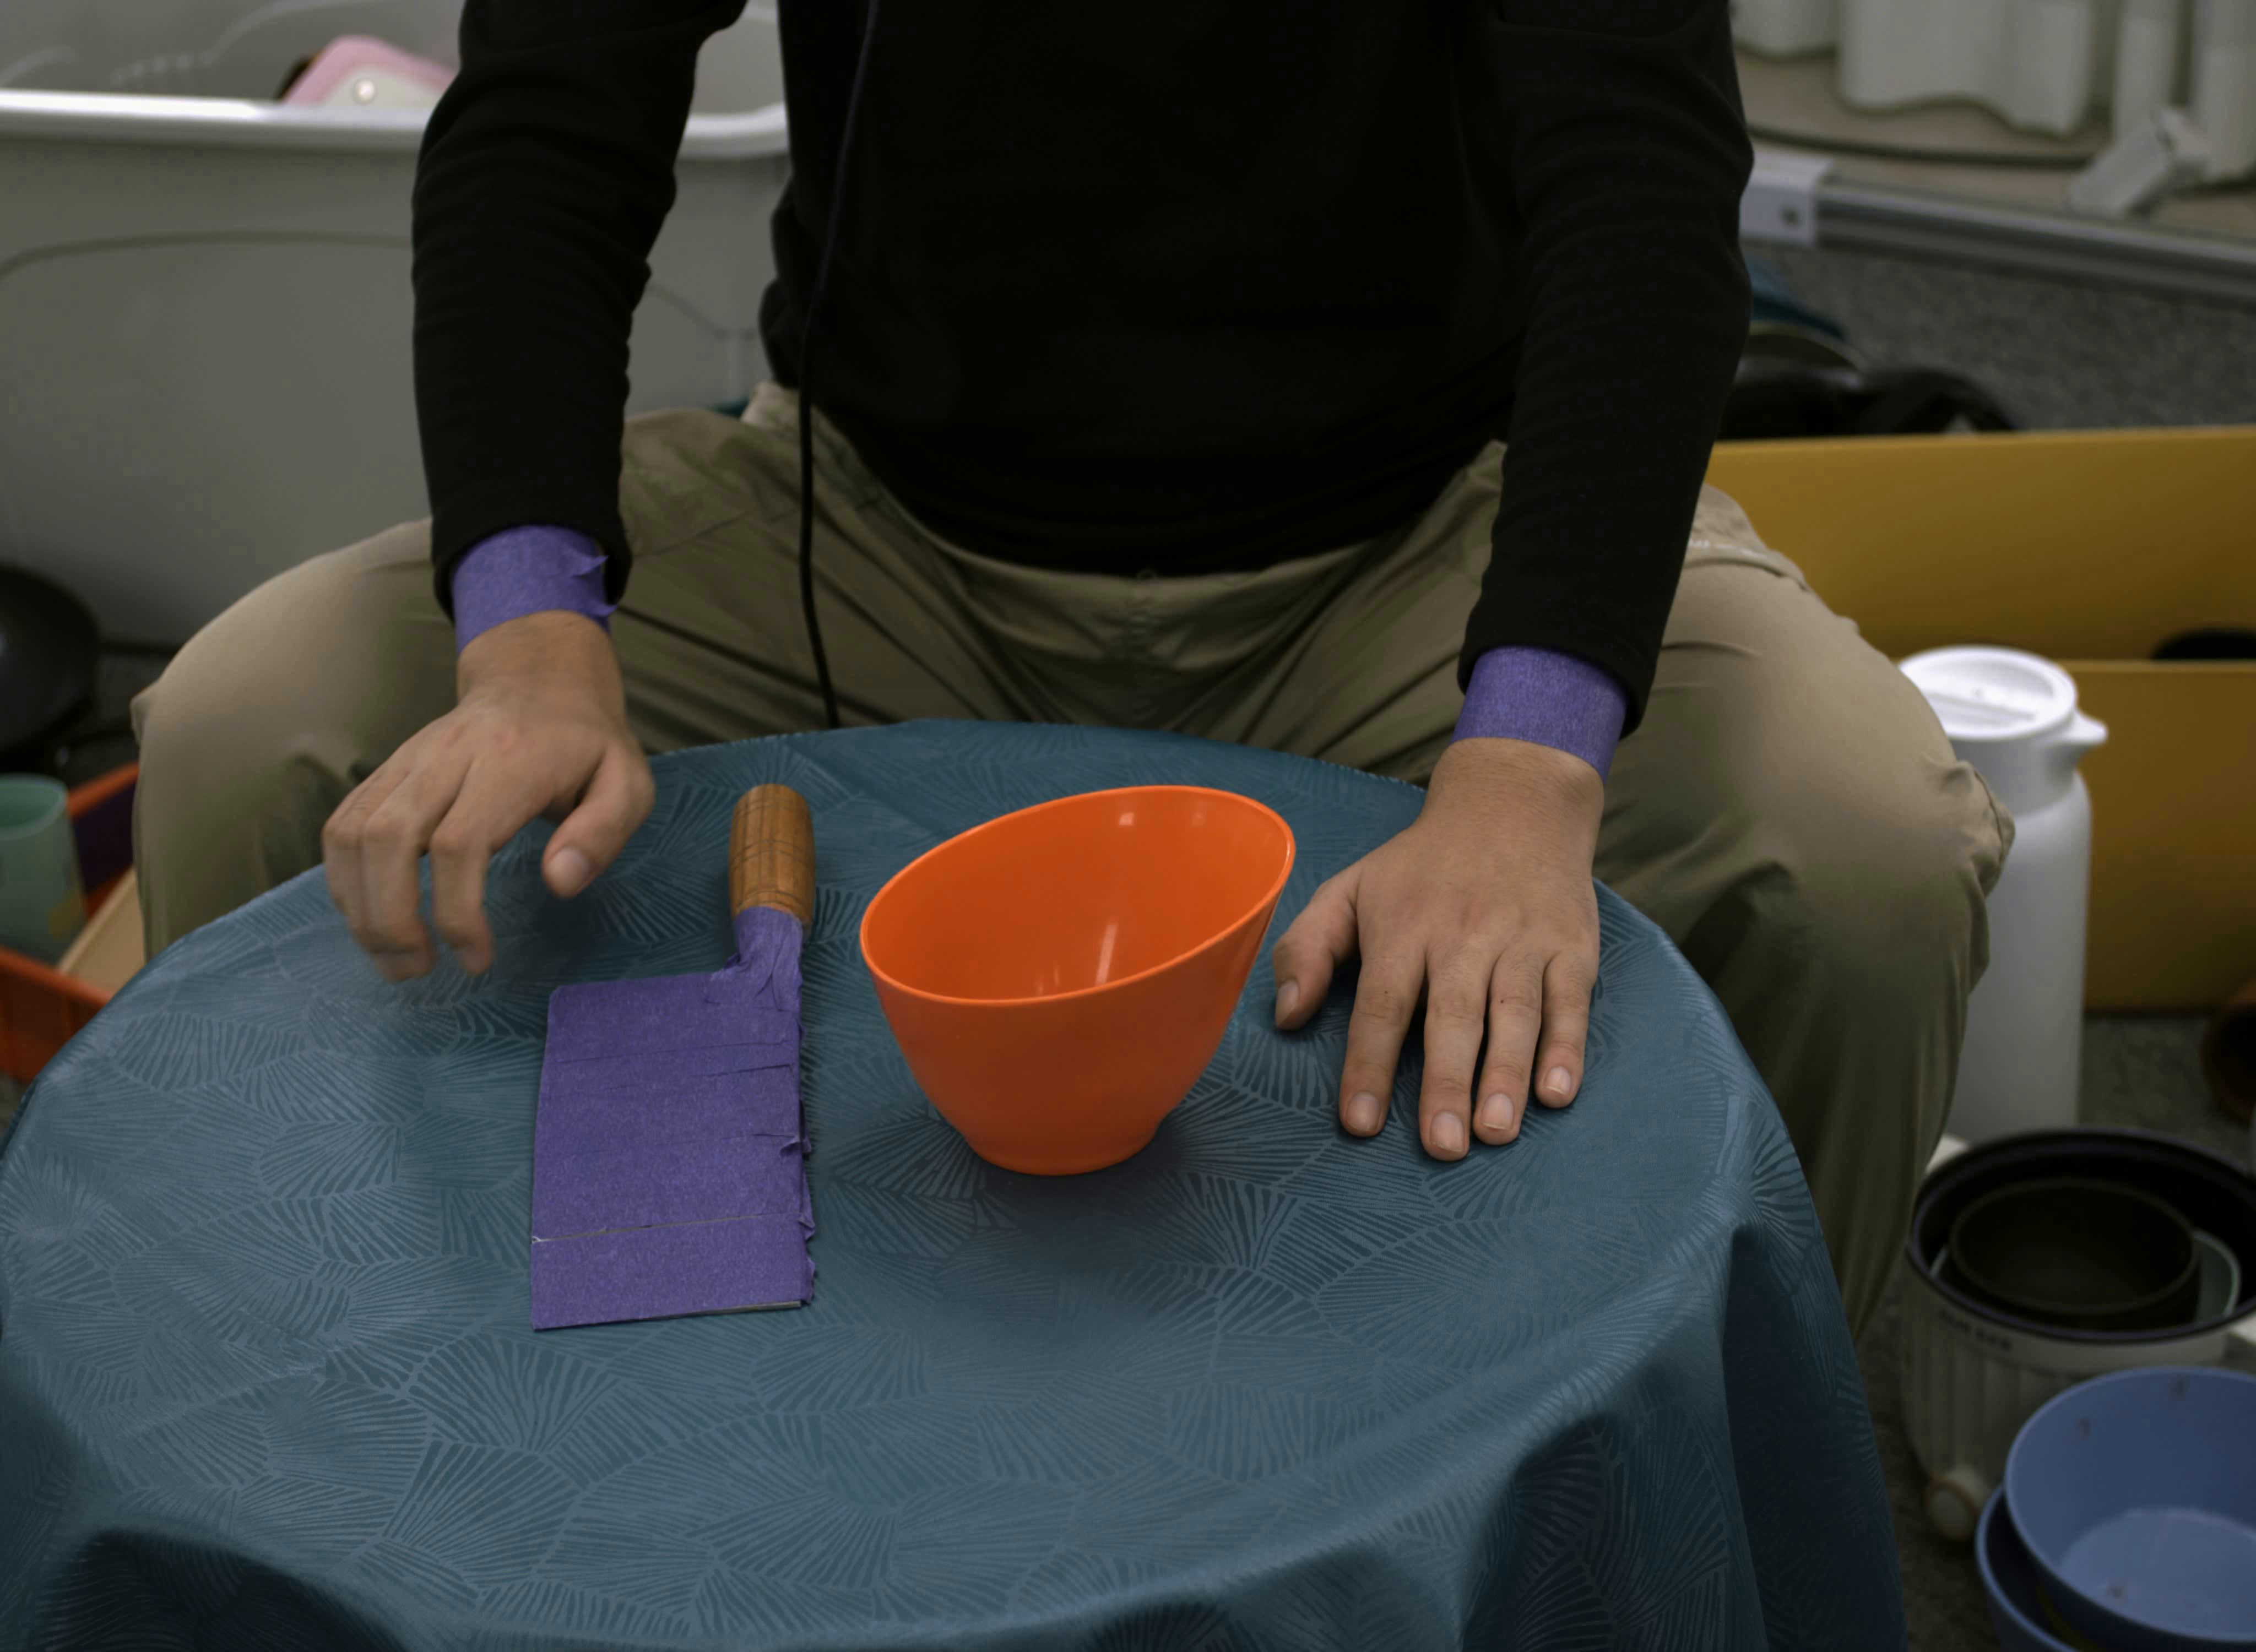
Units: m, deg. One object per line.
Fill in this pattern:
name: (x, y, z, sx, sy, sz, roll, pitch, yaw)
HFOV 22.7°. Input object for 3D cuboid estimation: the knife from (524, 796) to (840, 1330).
knife: (-0.155, 0.077, 1.932, 0.103, 0.032, 0.320, -4, 28, -3)

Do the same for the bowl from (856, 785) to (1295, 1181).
bowl: (-0.015, 0.058, 1.874, 0.147, 0.103, 0.150, -3, 28, 2)
